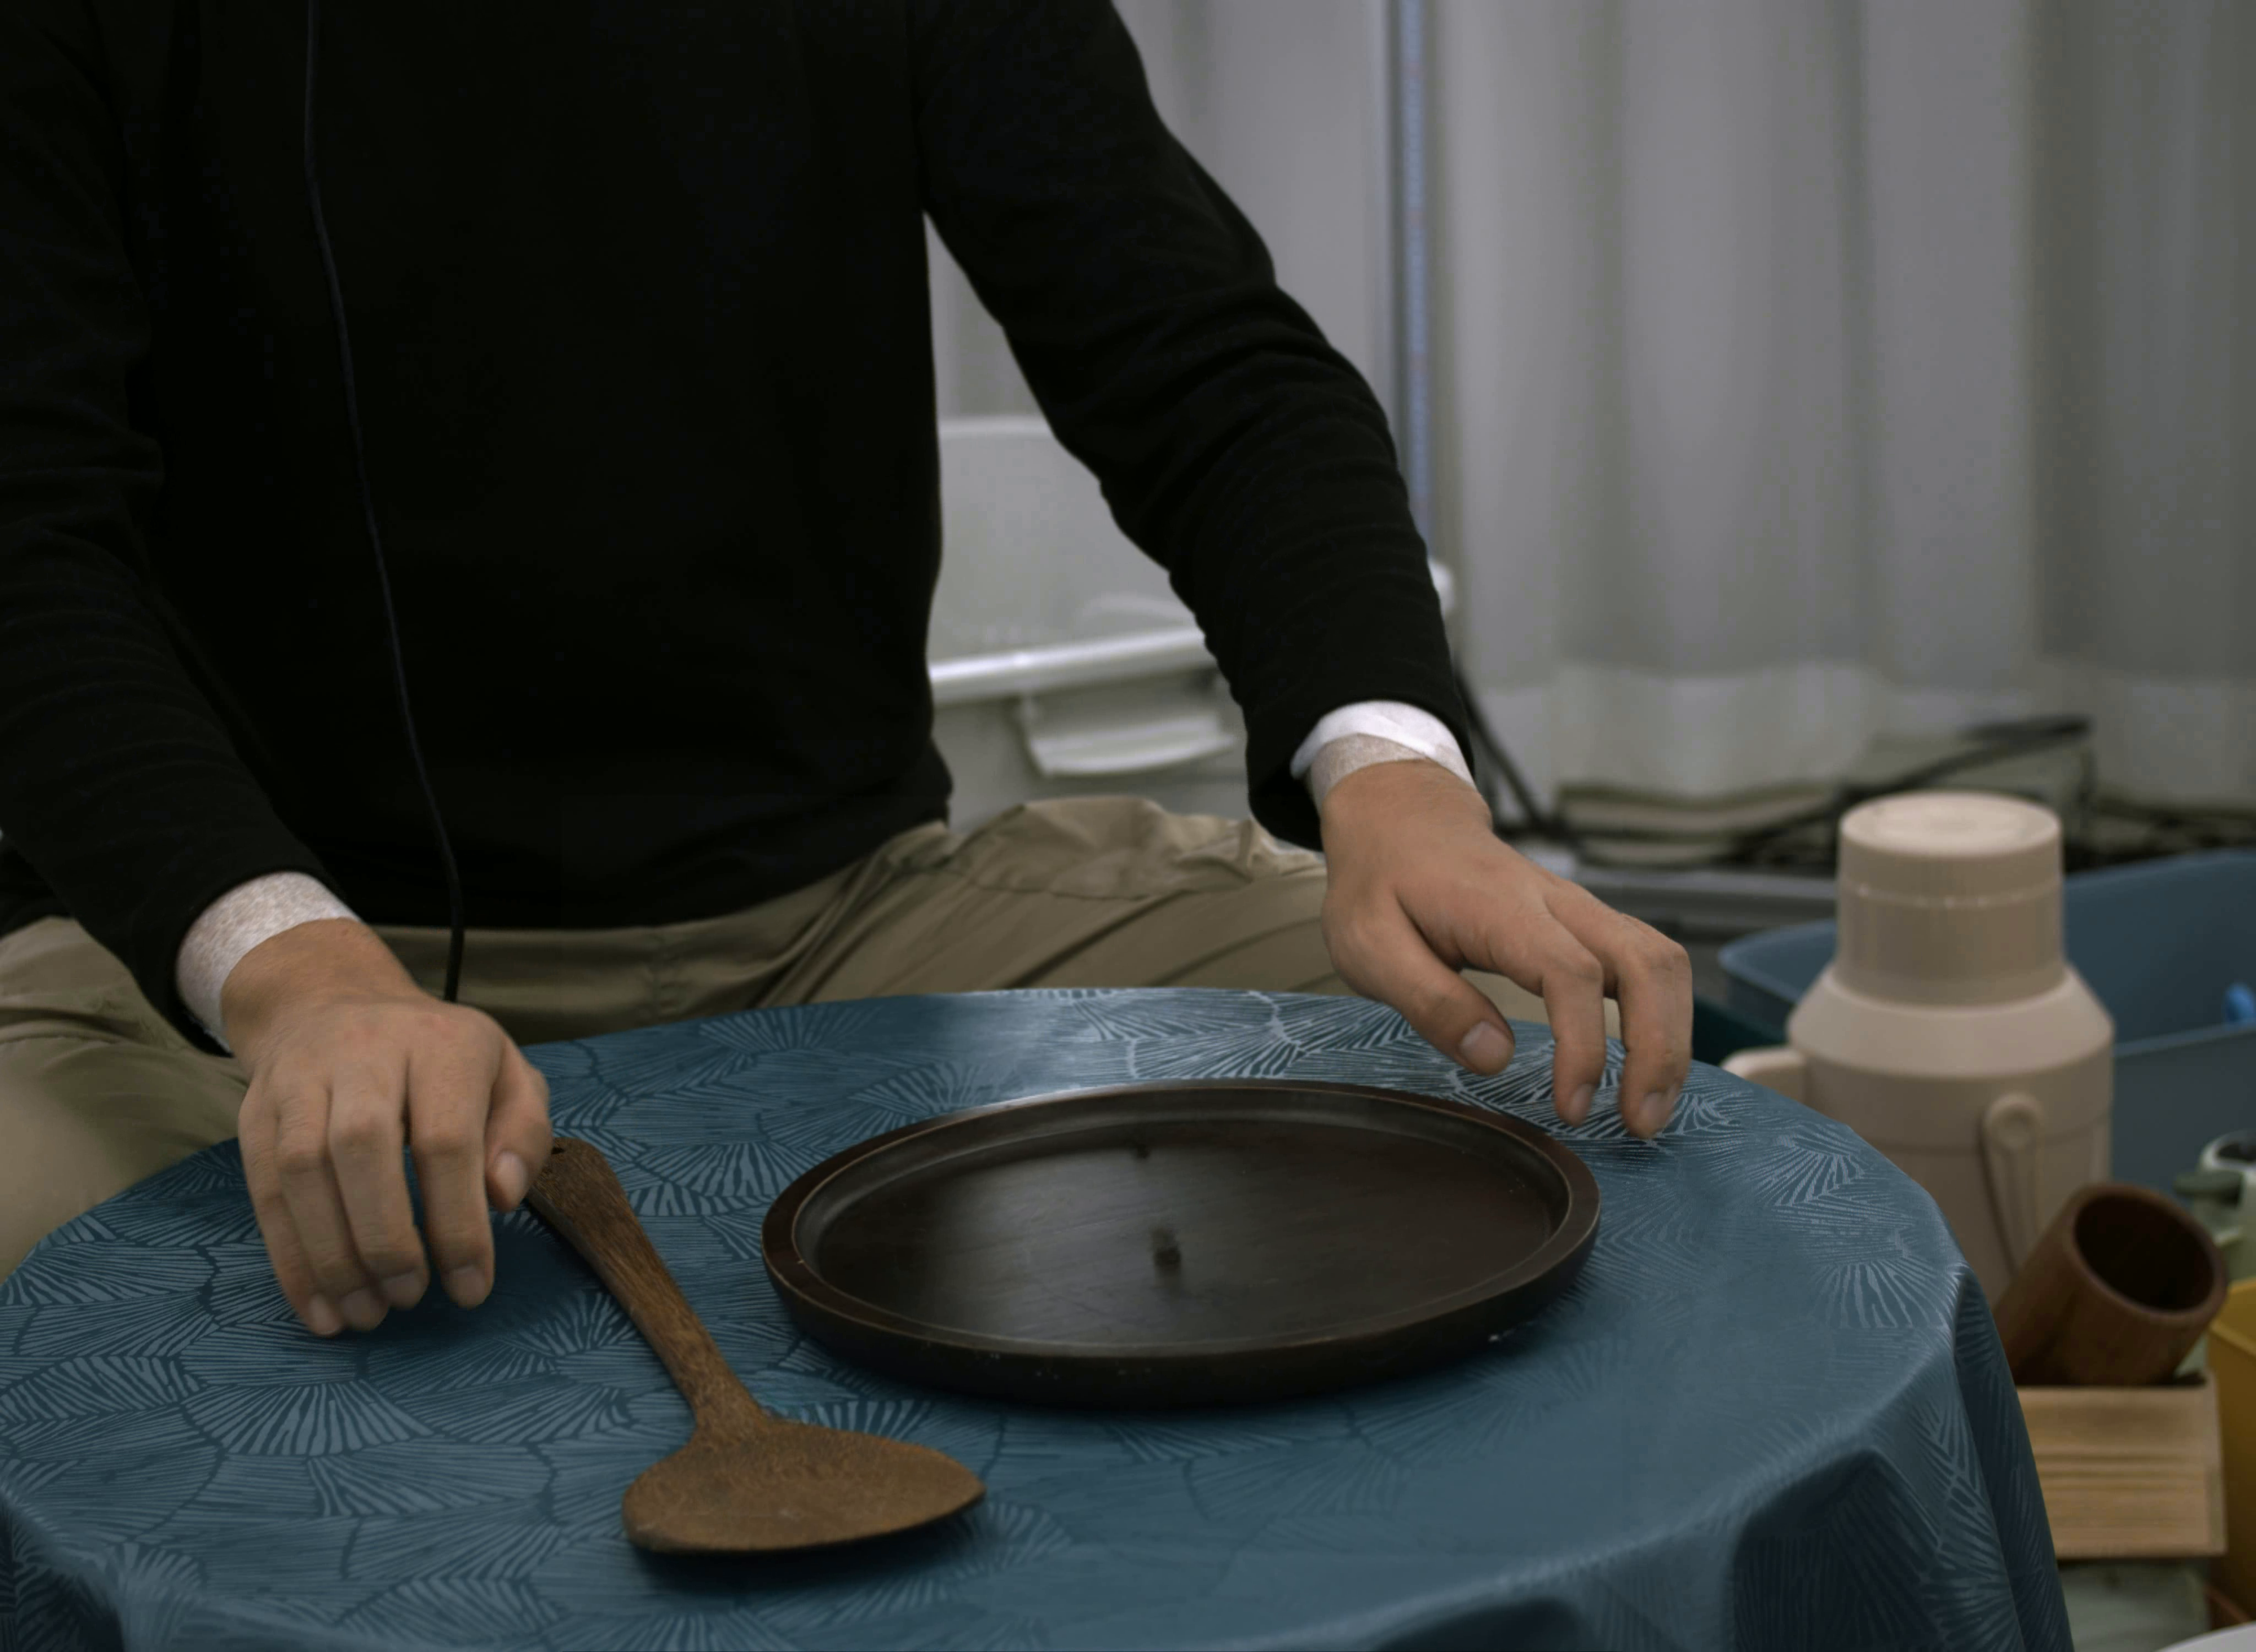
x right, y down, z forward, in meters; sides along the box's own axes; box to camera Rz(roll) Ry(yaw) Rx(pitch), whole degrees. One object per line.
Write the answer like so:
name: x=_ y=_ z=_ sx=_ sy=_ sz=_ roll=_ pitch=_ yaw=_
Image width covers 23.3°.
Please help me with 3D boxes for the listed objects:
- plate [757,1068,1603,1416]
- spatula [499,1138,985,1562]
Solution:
plate: x=0.016 y=0.123 z=1.632 sx=0.254 sy=0.029 sz=0.256 roll=-4 pitch=16 yaw=1
spatula: x=-0.134 y=0.146 z=1.594 sx=0.095 sy=0.016 sz=0.389 roll=-7 pitch=15 yaw=-16
